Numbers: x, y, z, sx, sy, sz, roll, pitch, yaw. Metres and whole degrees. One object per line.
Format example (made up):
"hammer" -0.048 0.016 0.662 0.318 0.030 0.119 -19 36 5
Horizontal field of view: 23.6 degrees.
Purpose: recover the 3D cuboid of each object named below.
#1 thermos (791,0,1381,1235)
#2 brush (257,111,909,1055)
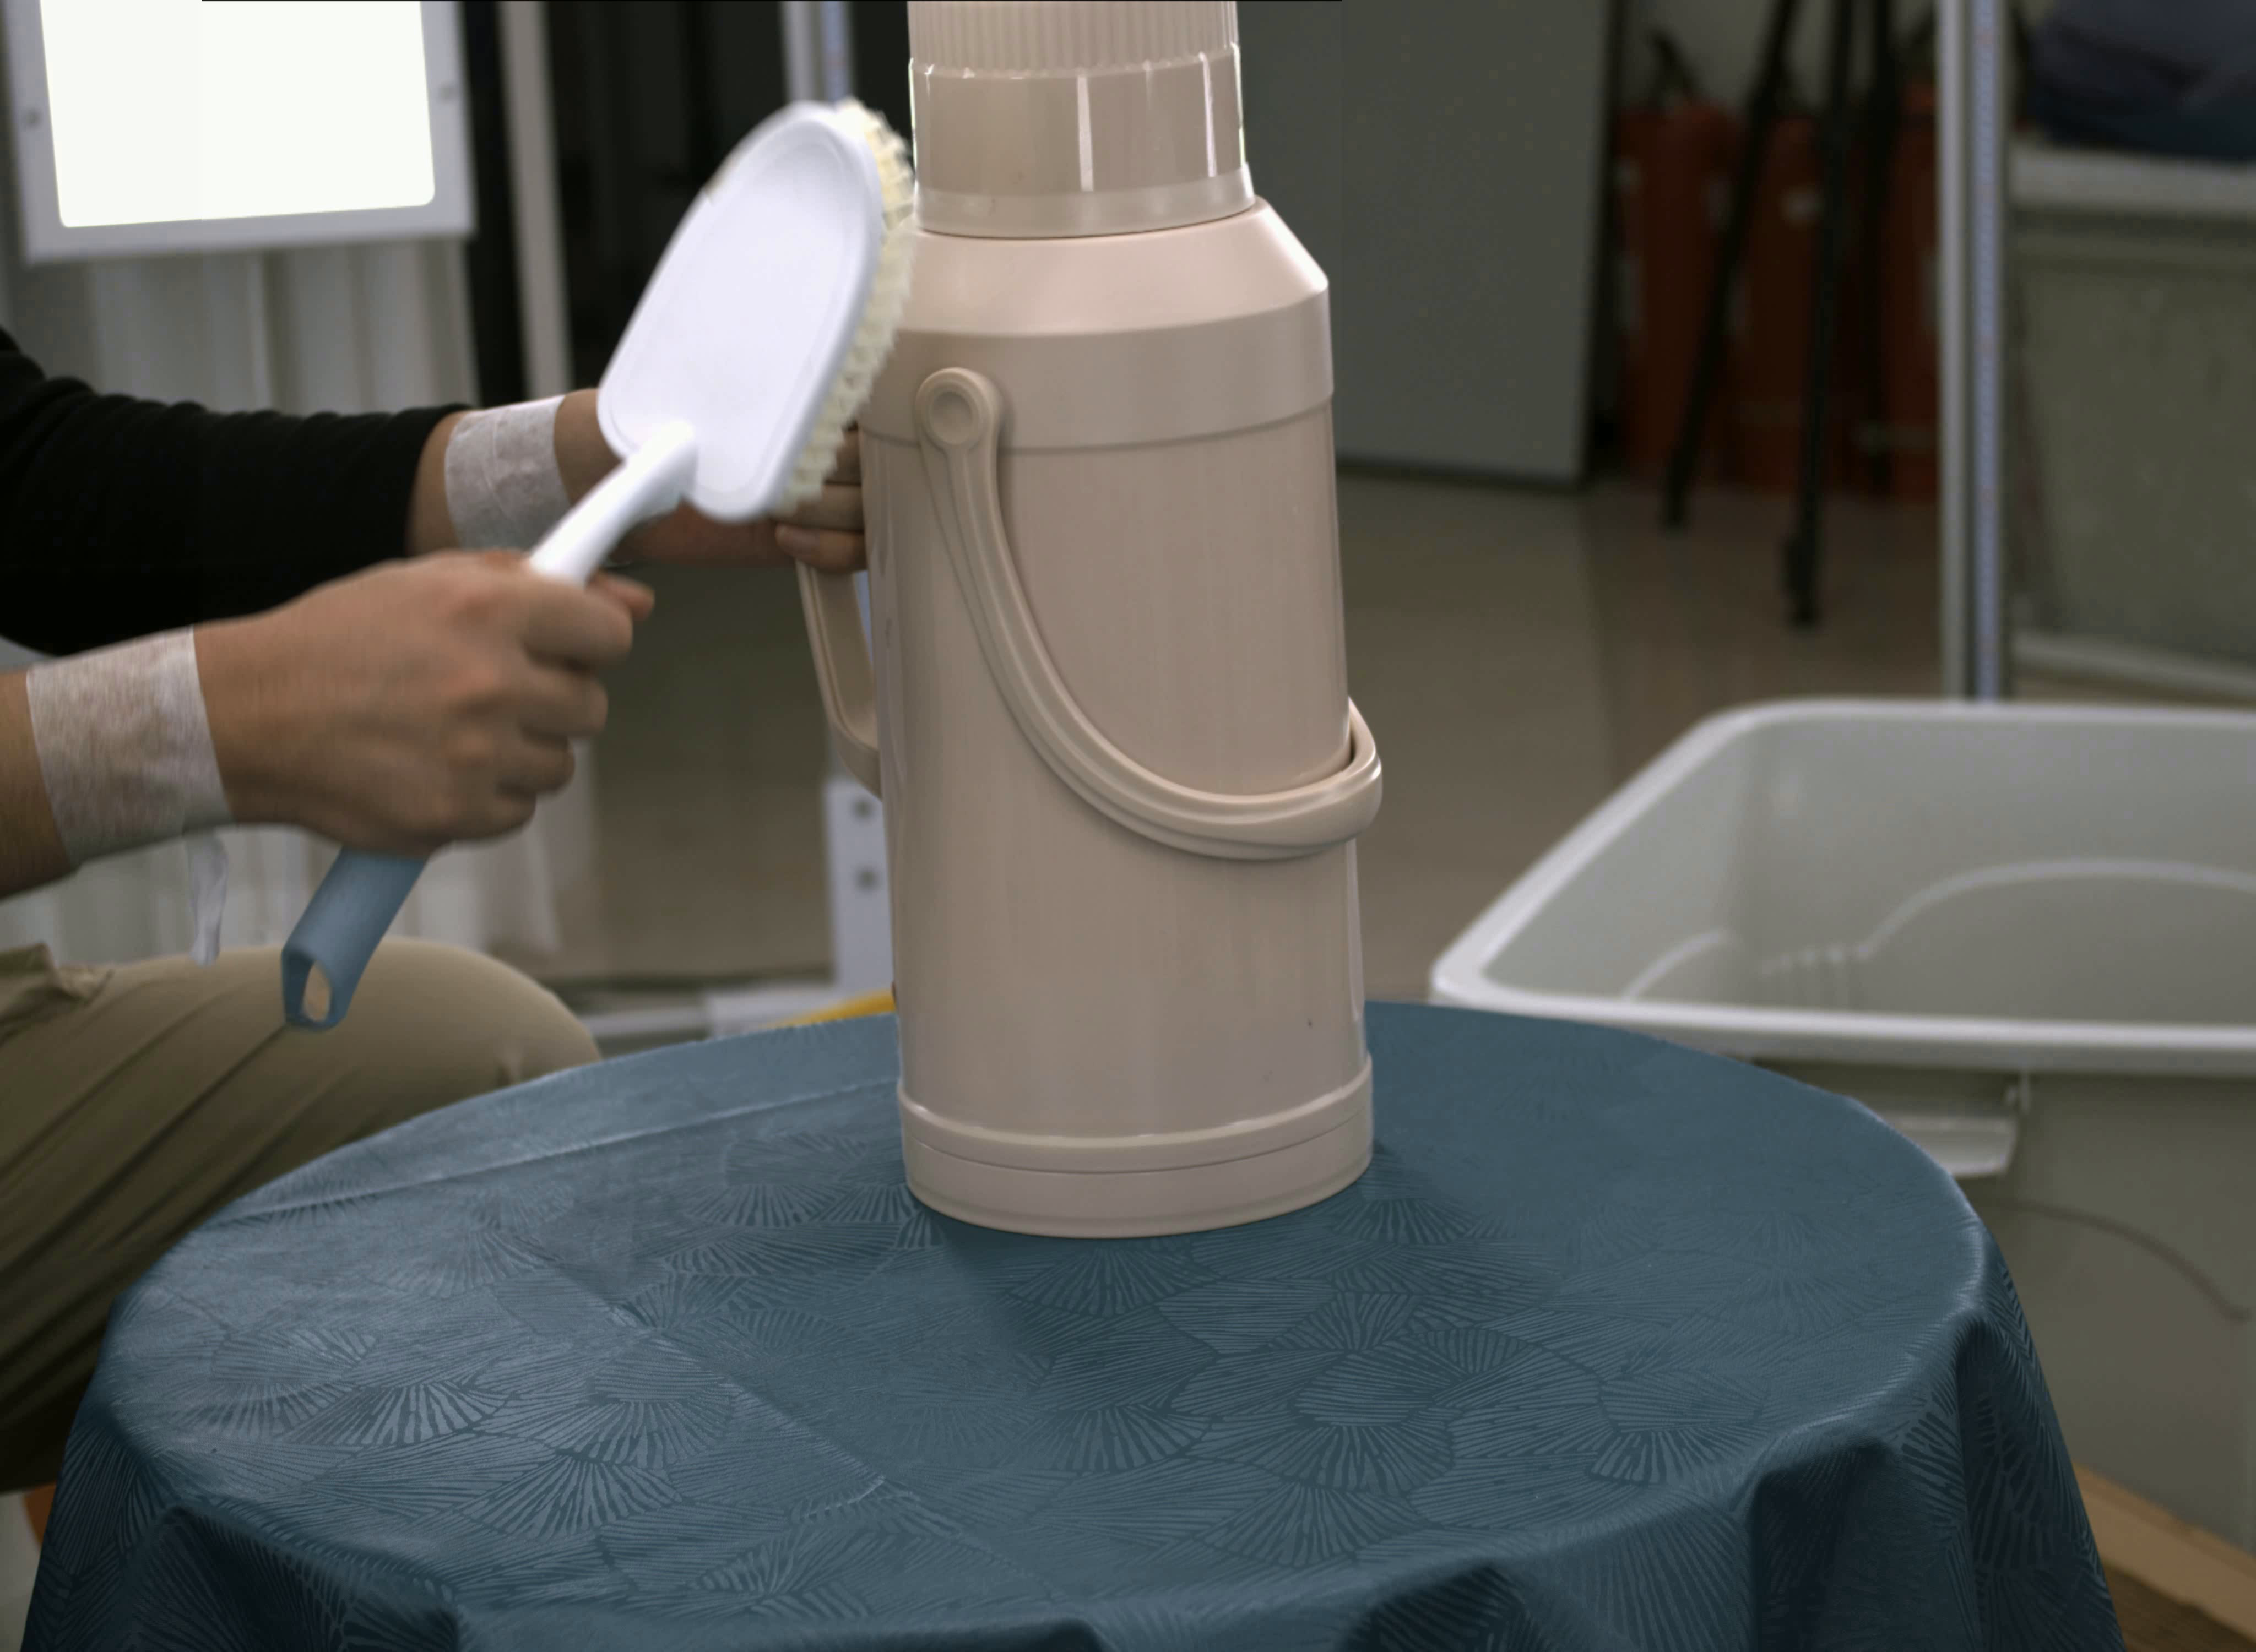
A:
"thermos" -0.019 -0.082 1.764 0.208 0.410 0.173 5 17 30
"brush" -0.164 -0.072 1.641 0.083 0.328 0.084 27 8 -36
